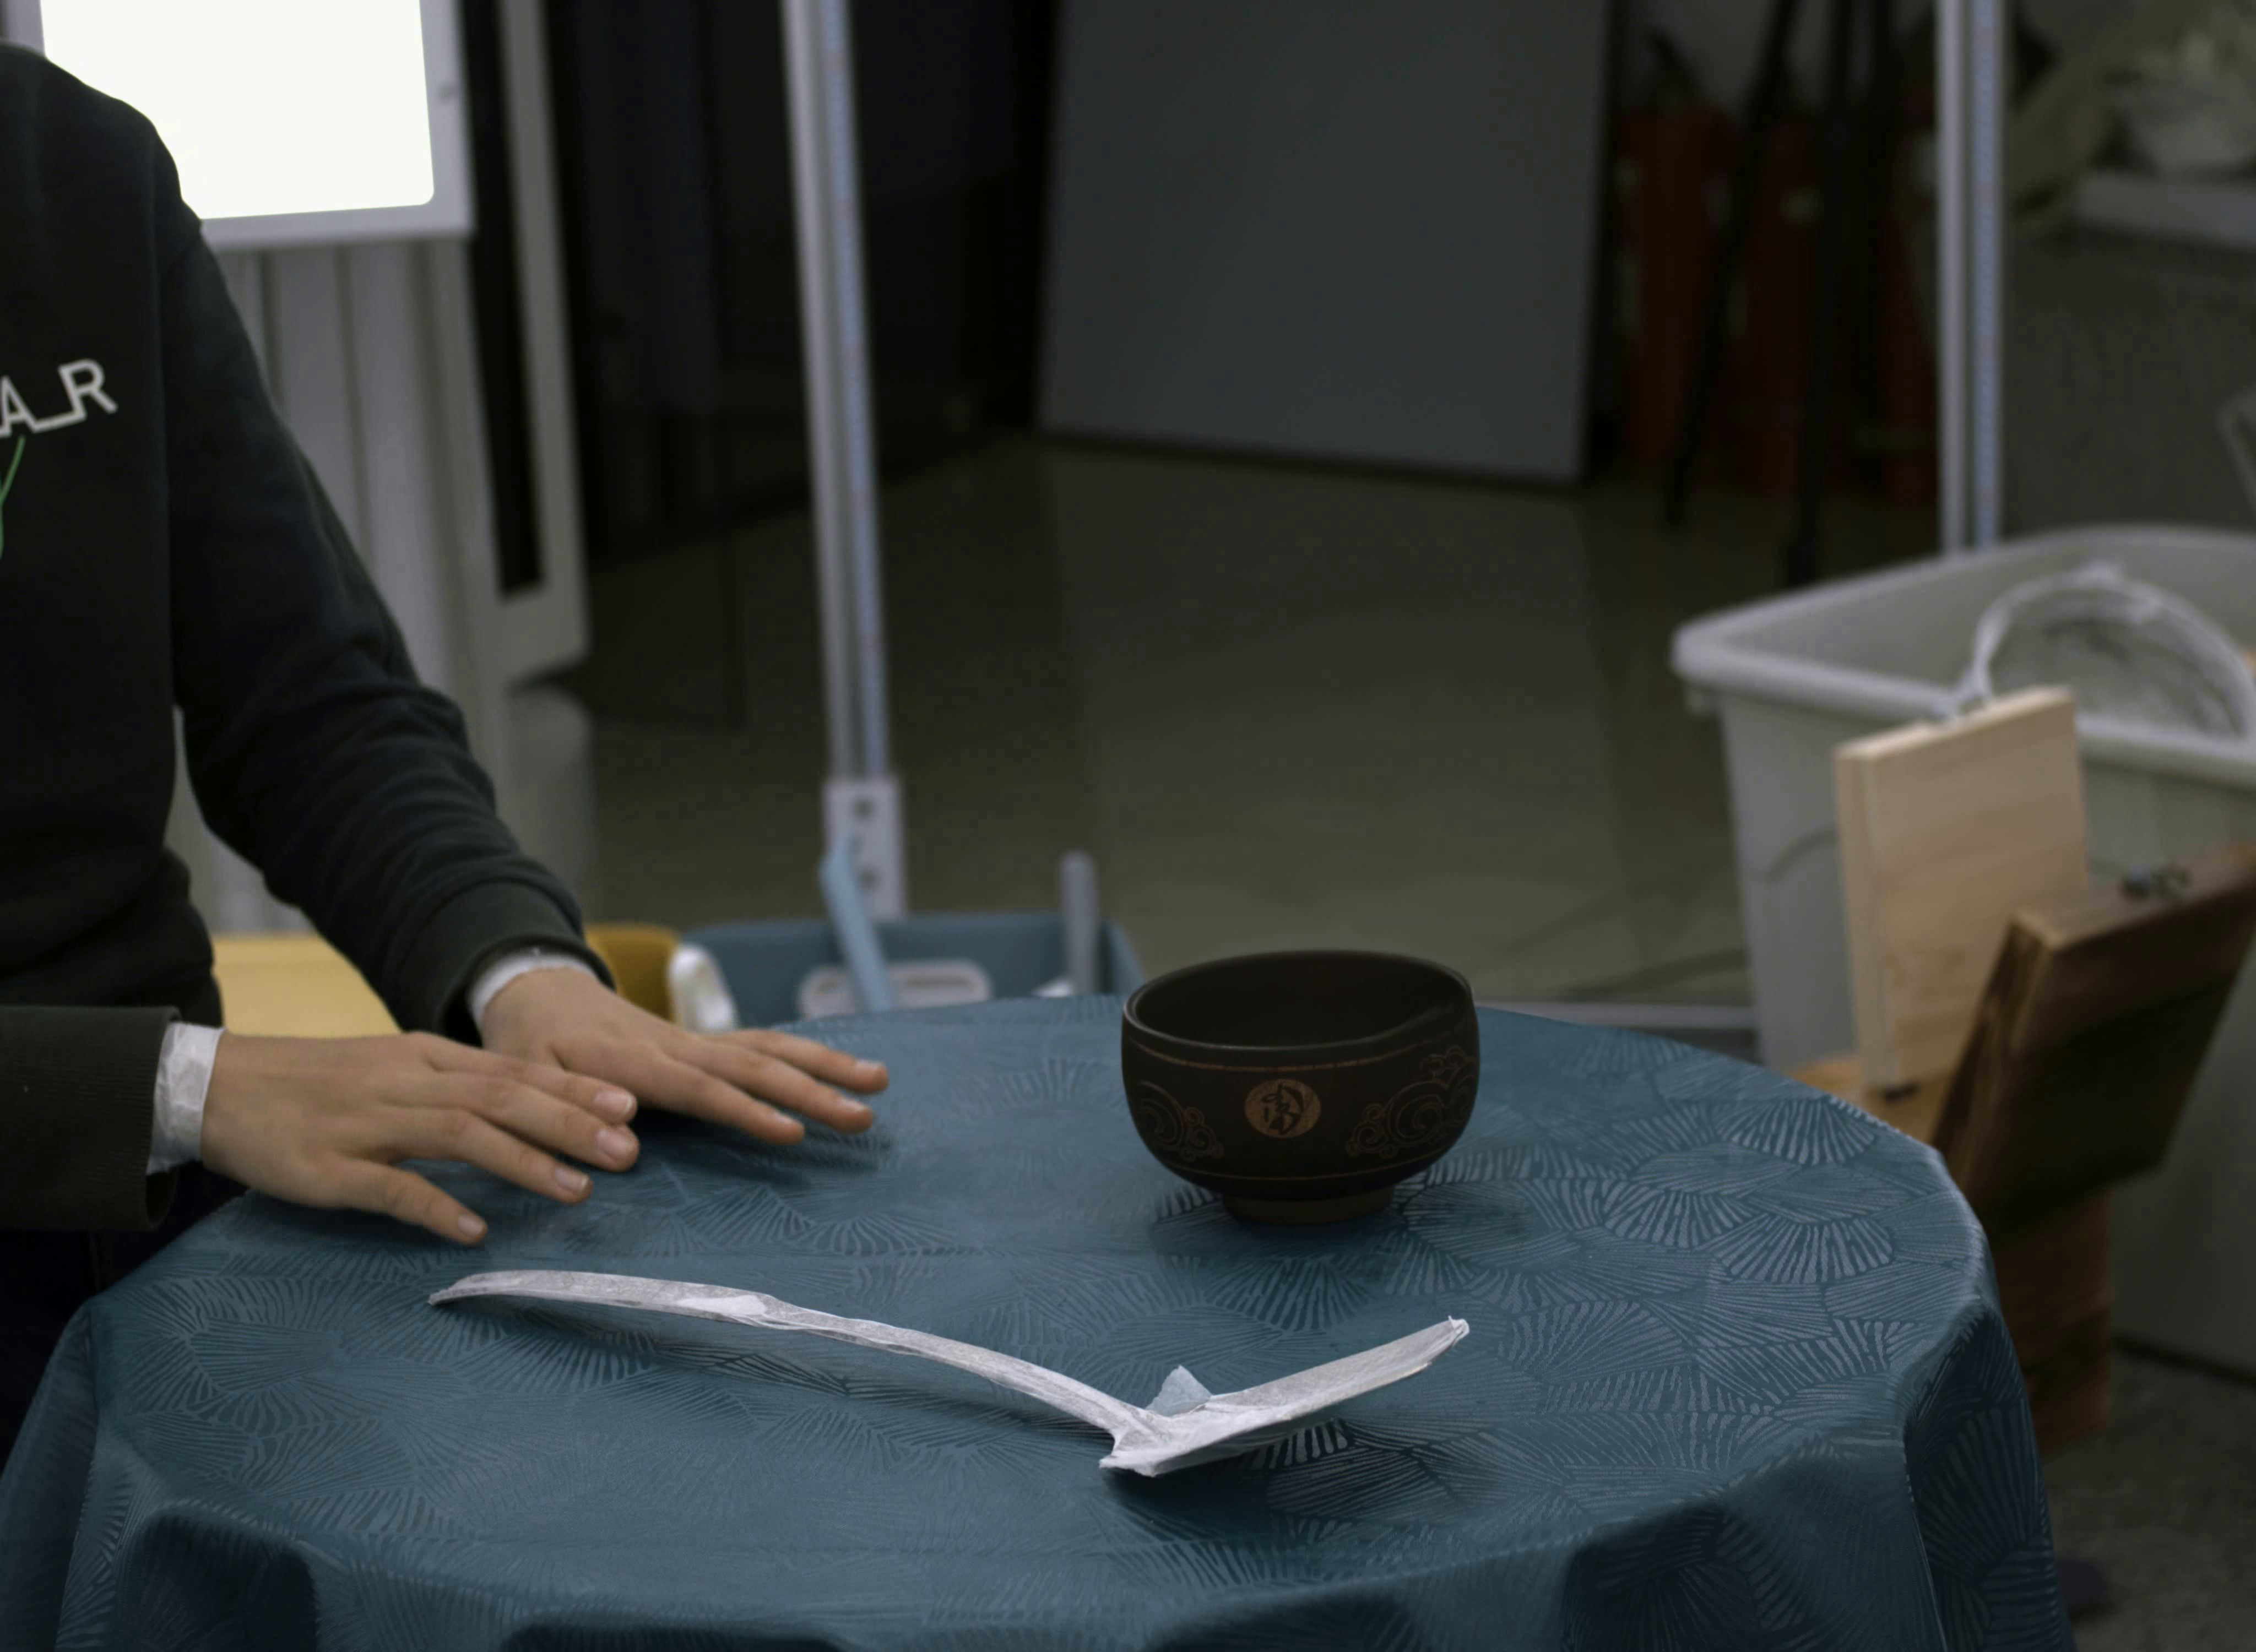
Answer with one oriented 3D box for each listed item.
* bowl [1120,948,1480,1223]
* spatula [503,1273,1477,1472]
[{"bbox_3d":[0.056,0.087,1.743,0.116,0.070,0.118,-4,12,0],"label":"bowl"},{"bbox_3d":[-0.061,0.149,1.595,0.367,0.045,0.097,7,20,38],"label":"spatula"}]
